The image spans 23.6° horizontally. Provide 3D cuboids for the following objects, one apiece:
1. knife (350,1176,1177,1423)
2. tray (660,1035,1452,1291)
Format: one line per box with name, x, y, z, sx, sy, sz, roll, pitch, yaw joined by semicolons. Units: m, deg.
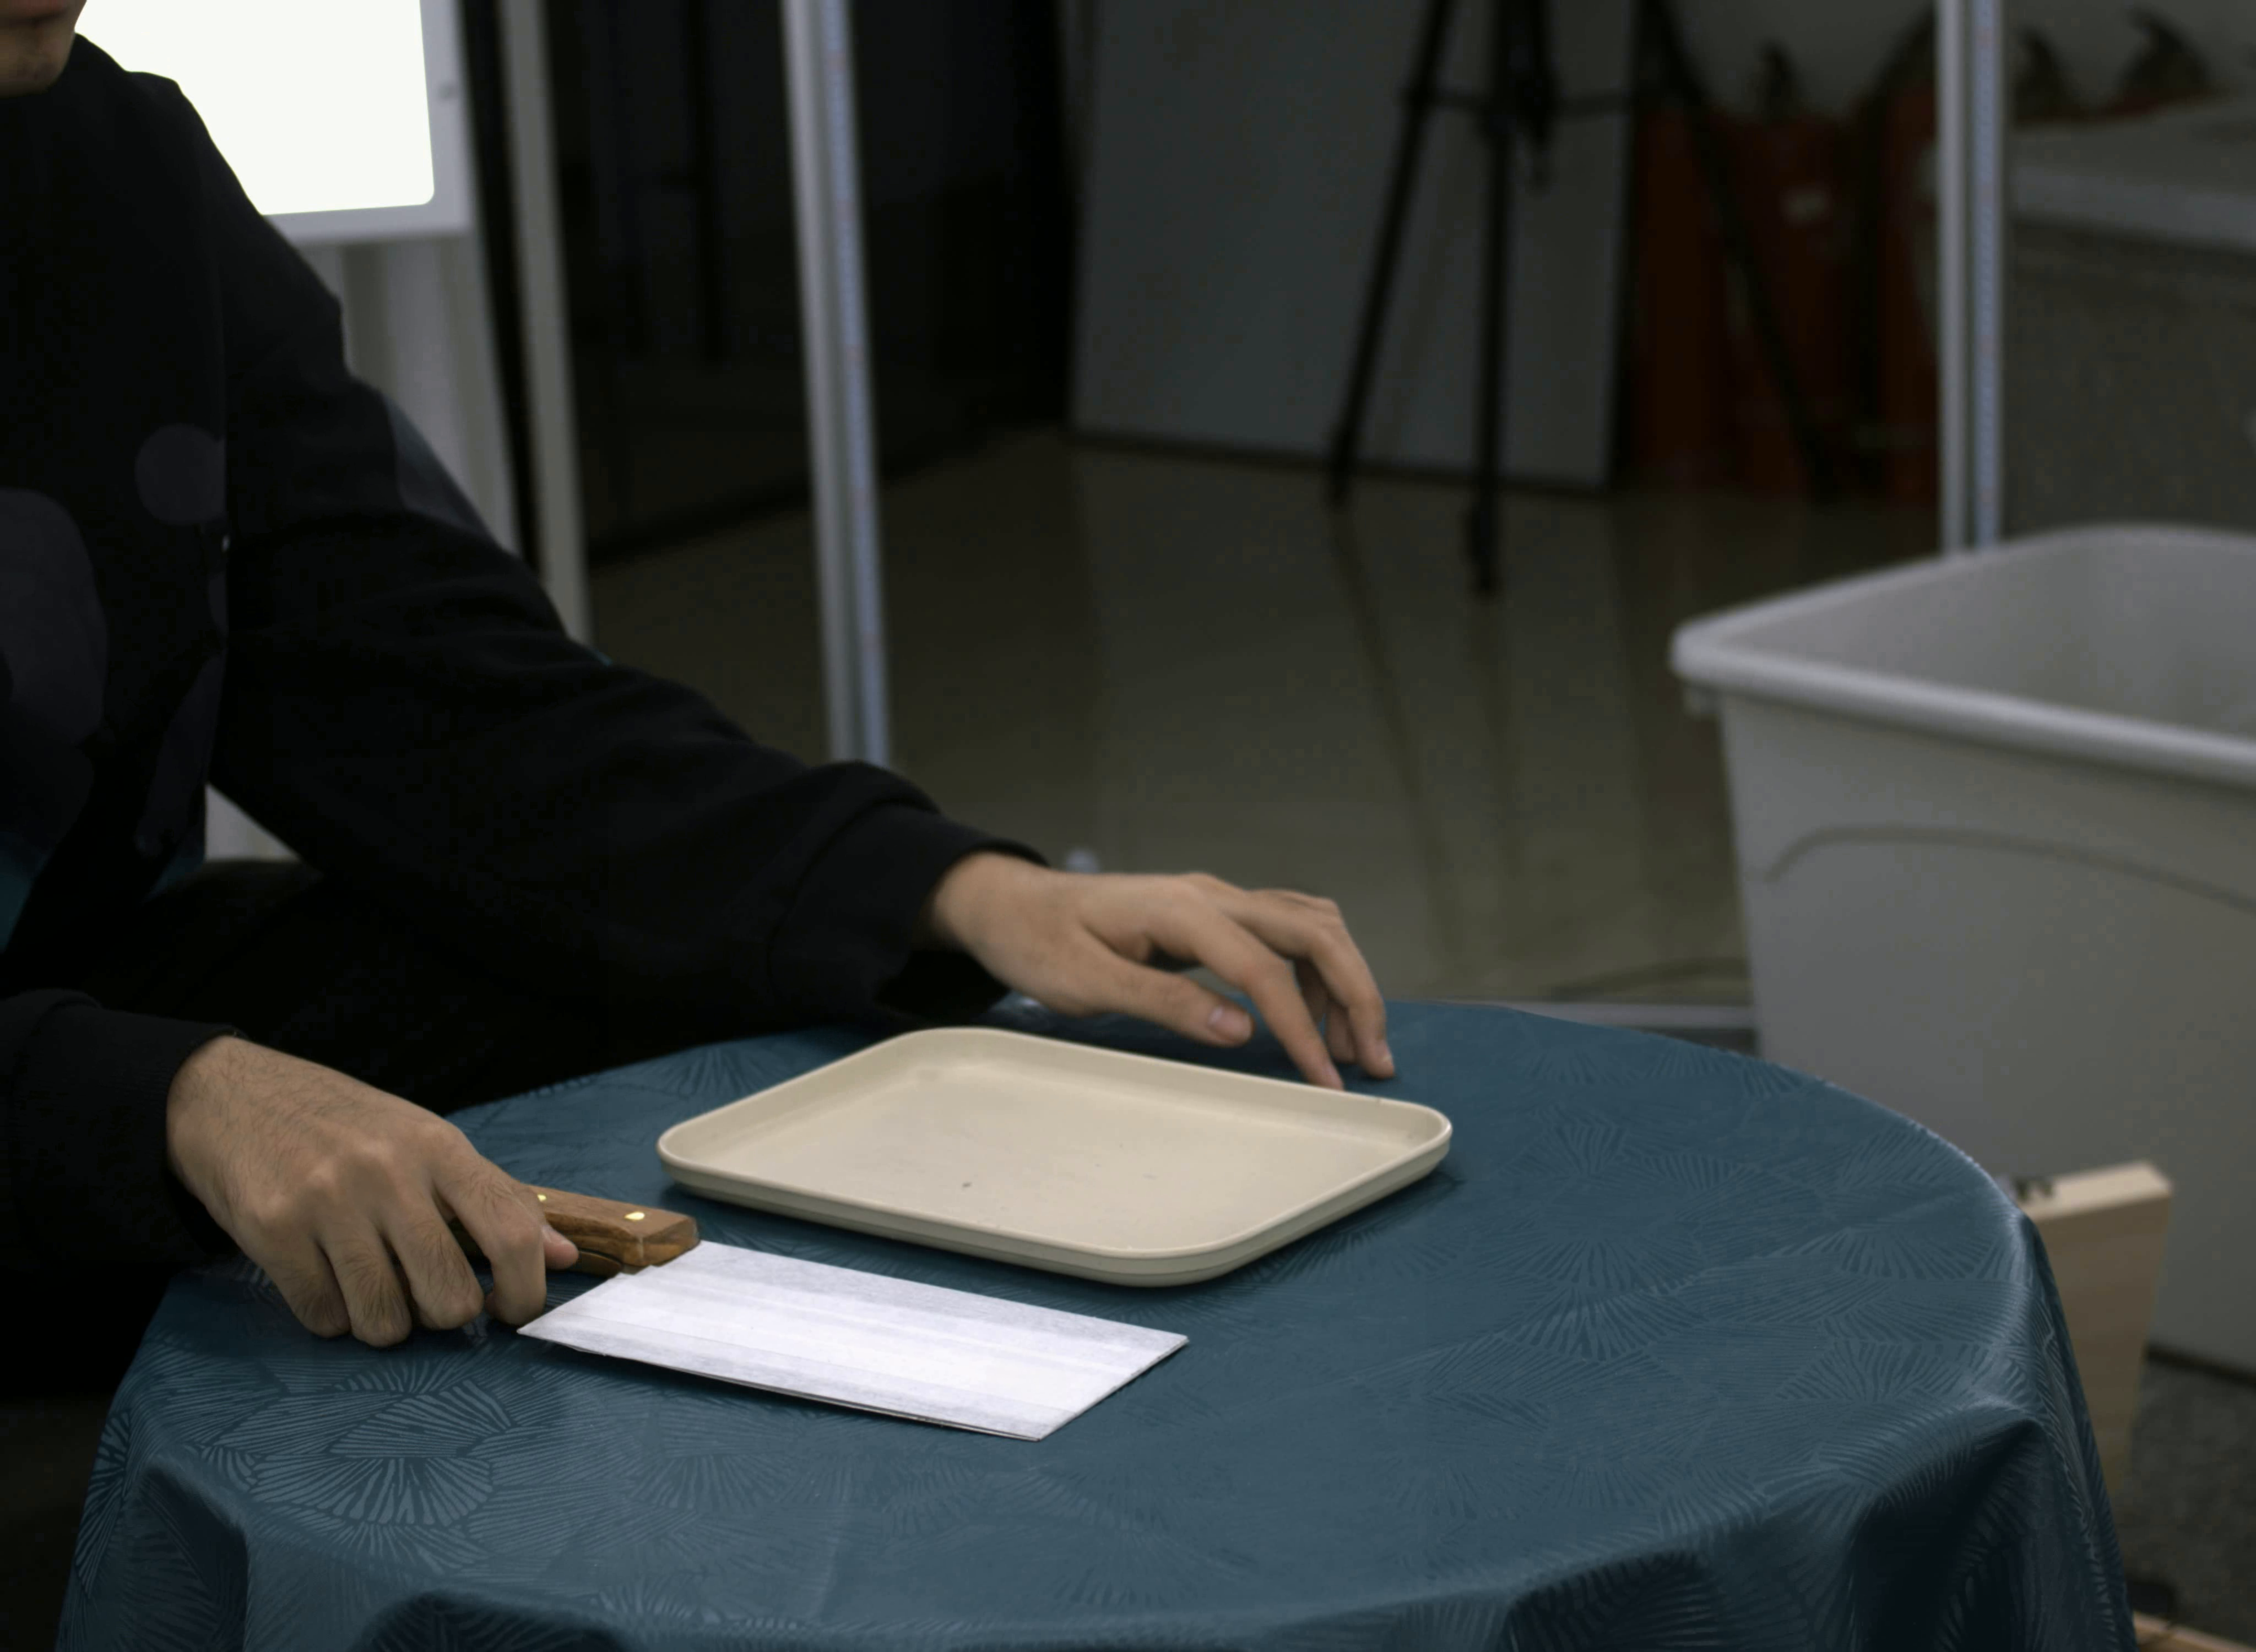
knife;-0.131;0.149;1.667;0.307;0.021;0.091;7;19;32
tray;-0.024;0.110;1.783;0.241;0.017;0.168;7;19;39
